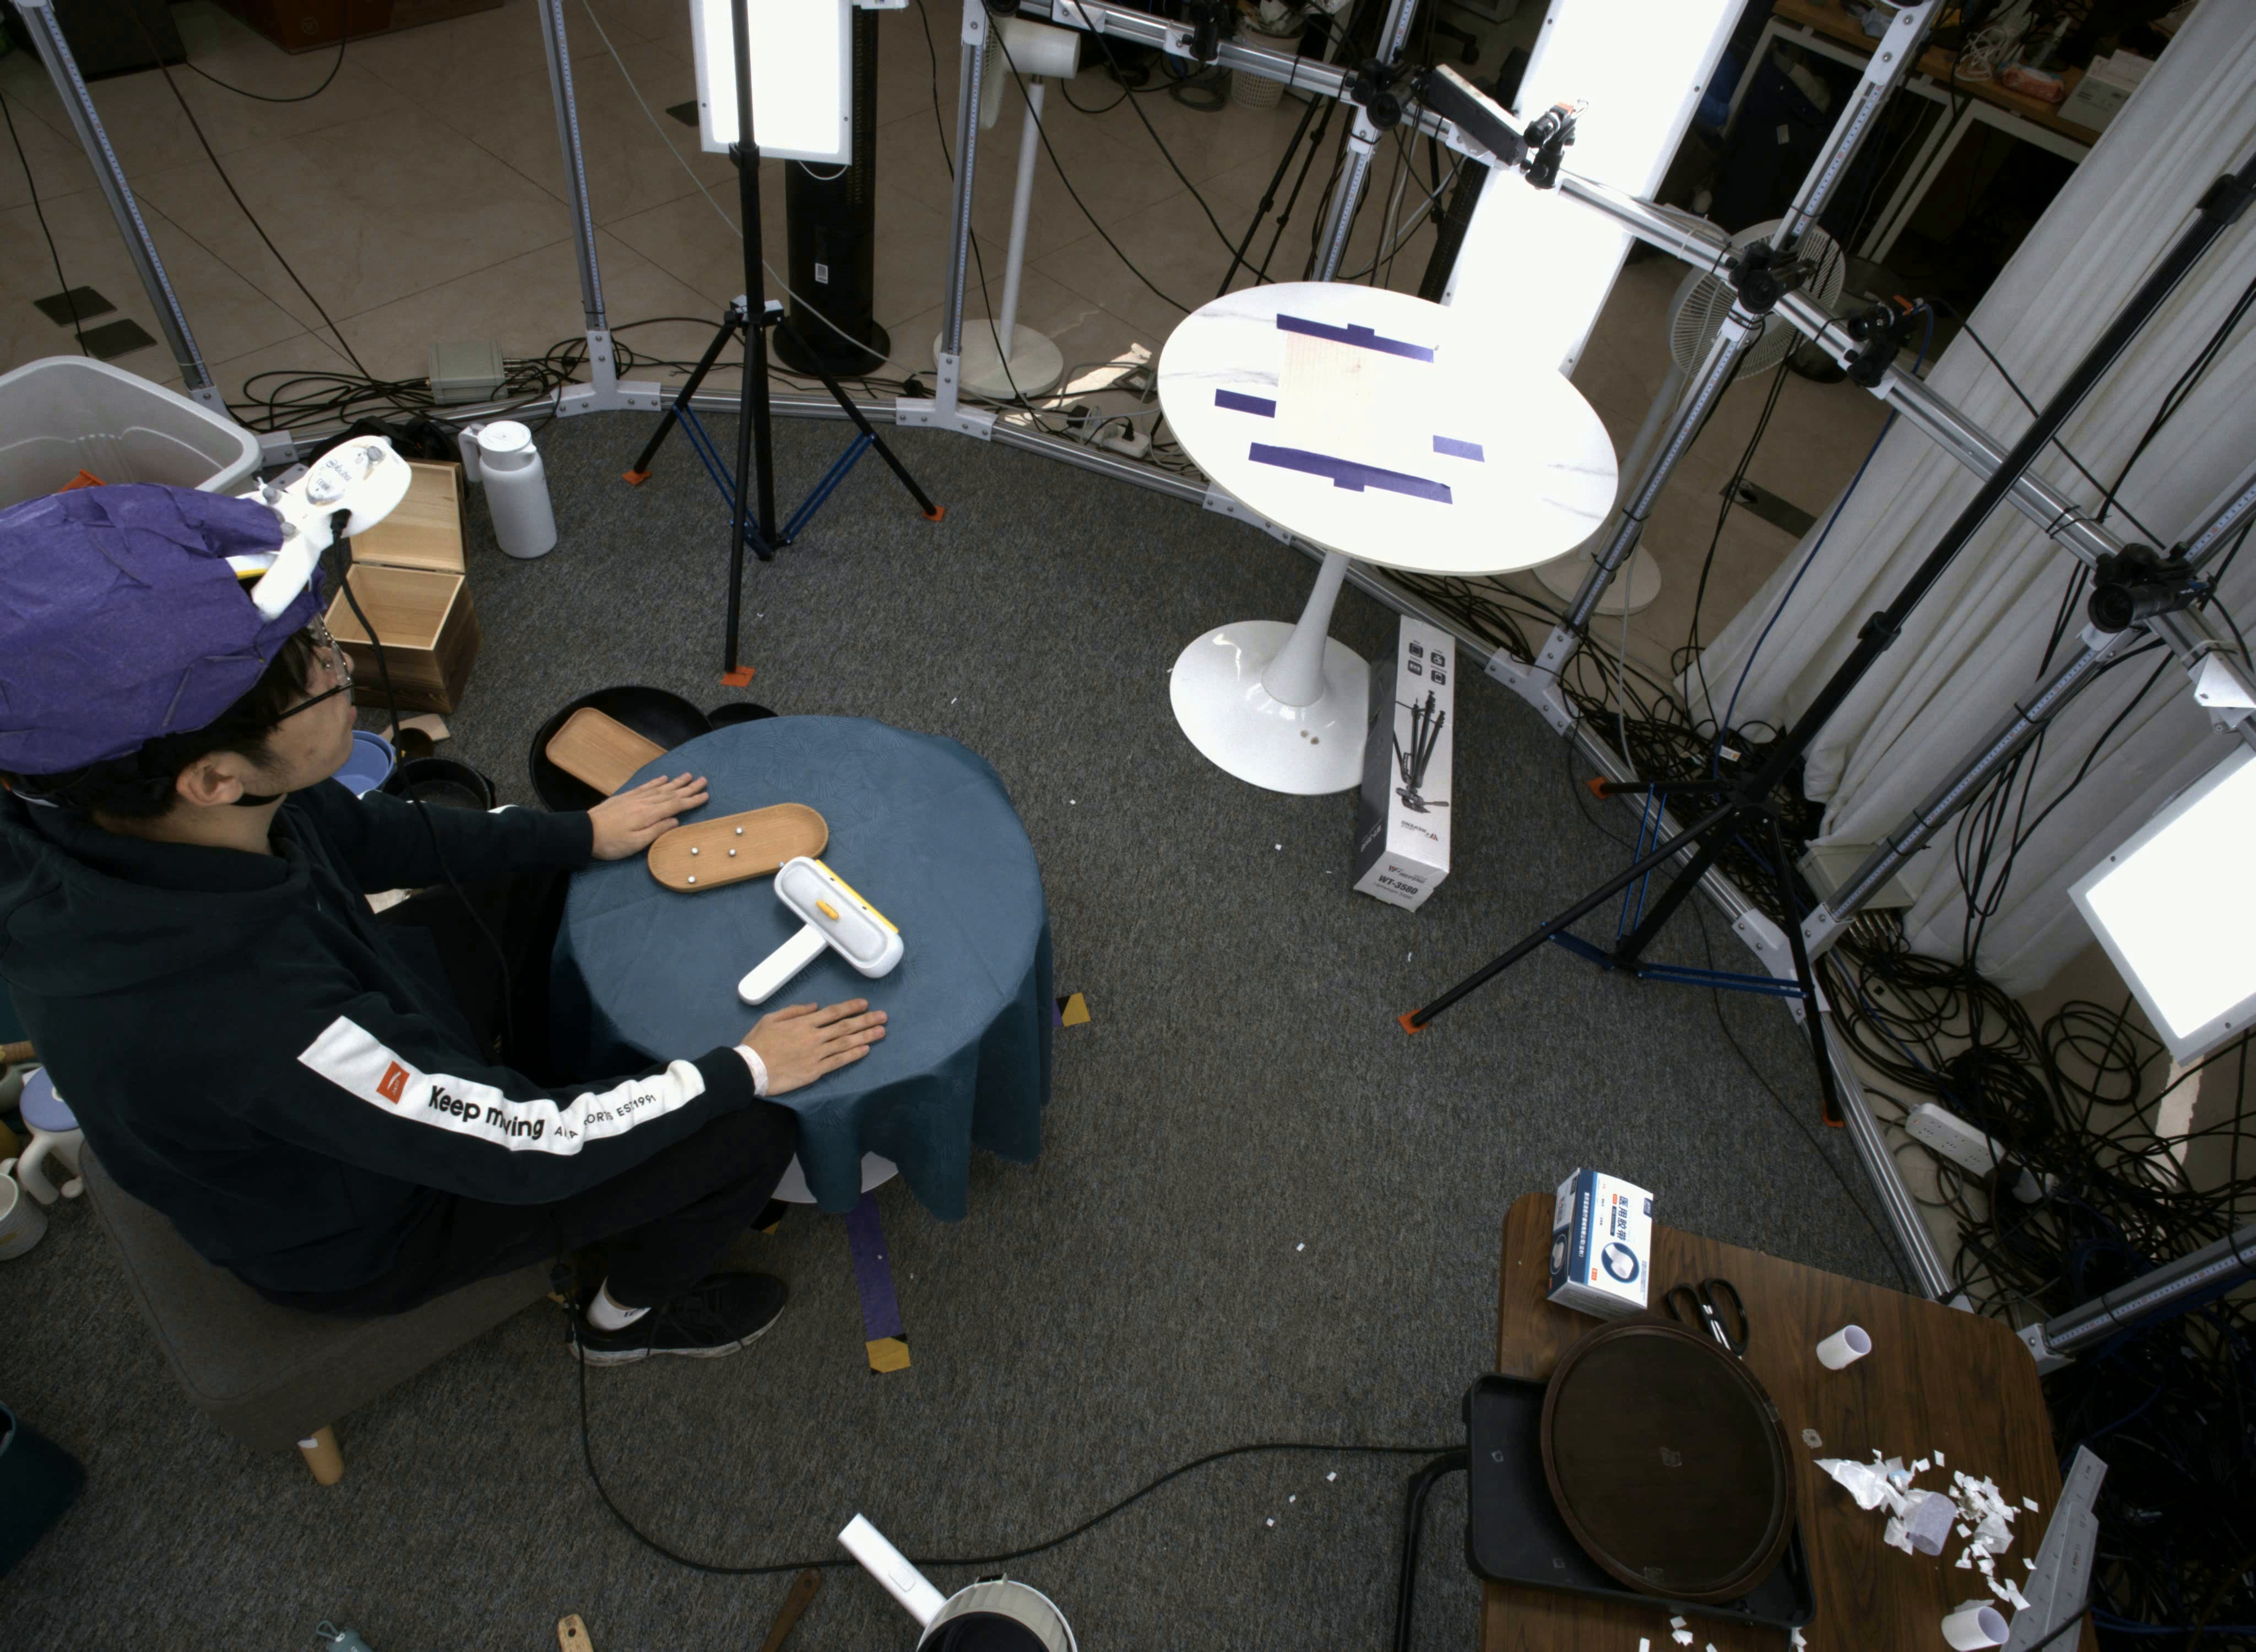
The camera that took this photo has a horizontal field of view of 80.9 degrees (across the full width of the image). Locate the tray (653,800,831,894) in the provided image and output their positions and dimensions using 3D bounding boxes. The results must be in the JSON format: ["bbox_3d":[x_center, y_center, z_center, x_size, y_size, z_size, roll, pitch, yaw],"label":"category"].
[{"bbox_3d":[-0.500,0.025,1.680,0.232,0.020,0.099,-15,60,-25],"label":"tray"}]

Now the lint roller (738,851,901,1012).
[{"bbox_3d":[-0.402,0.146,1.596,0.191,0.075,0.192,37,73,6],"label":"lint roller"}]
